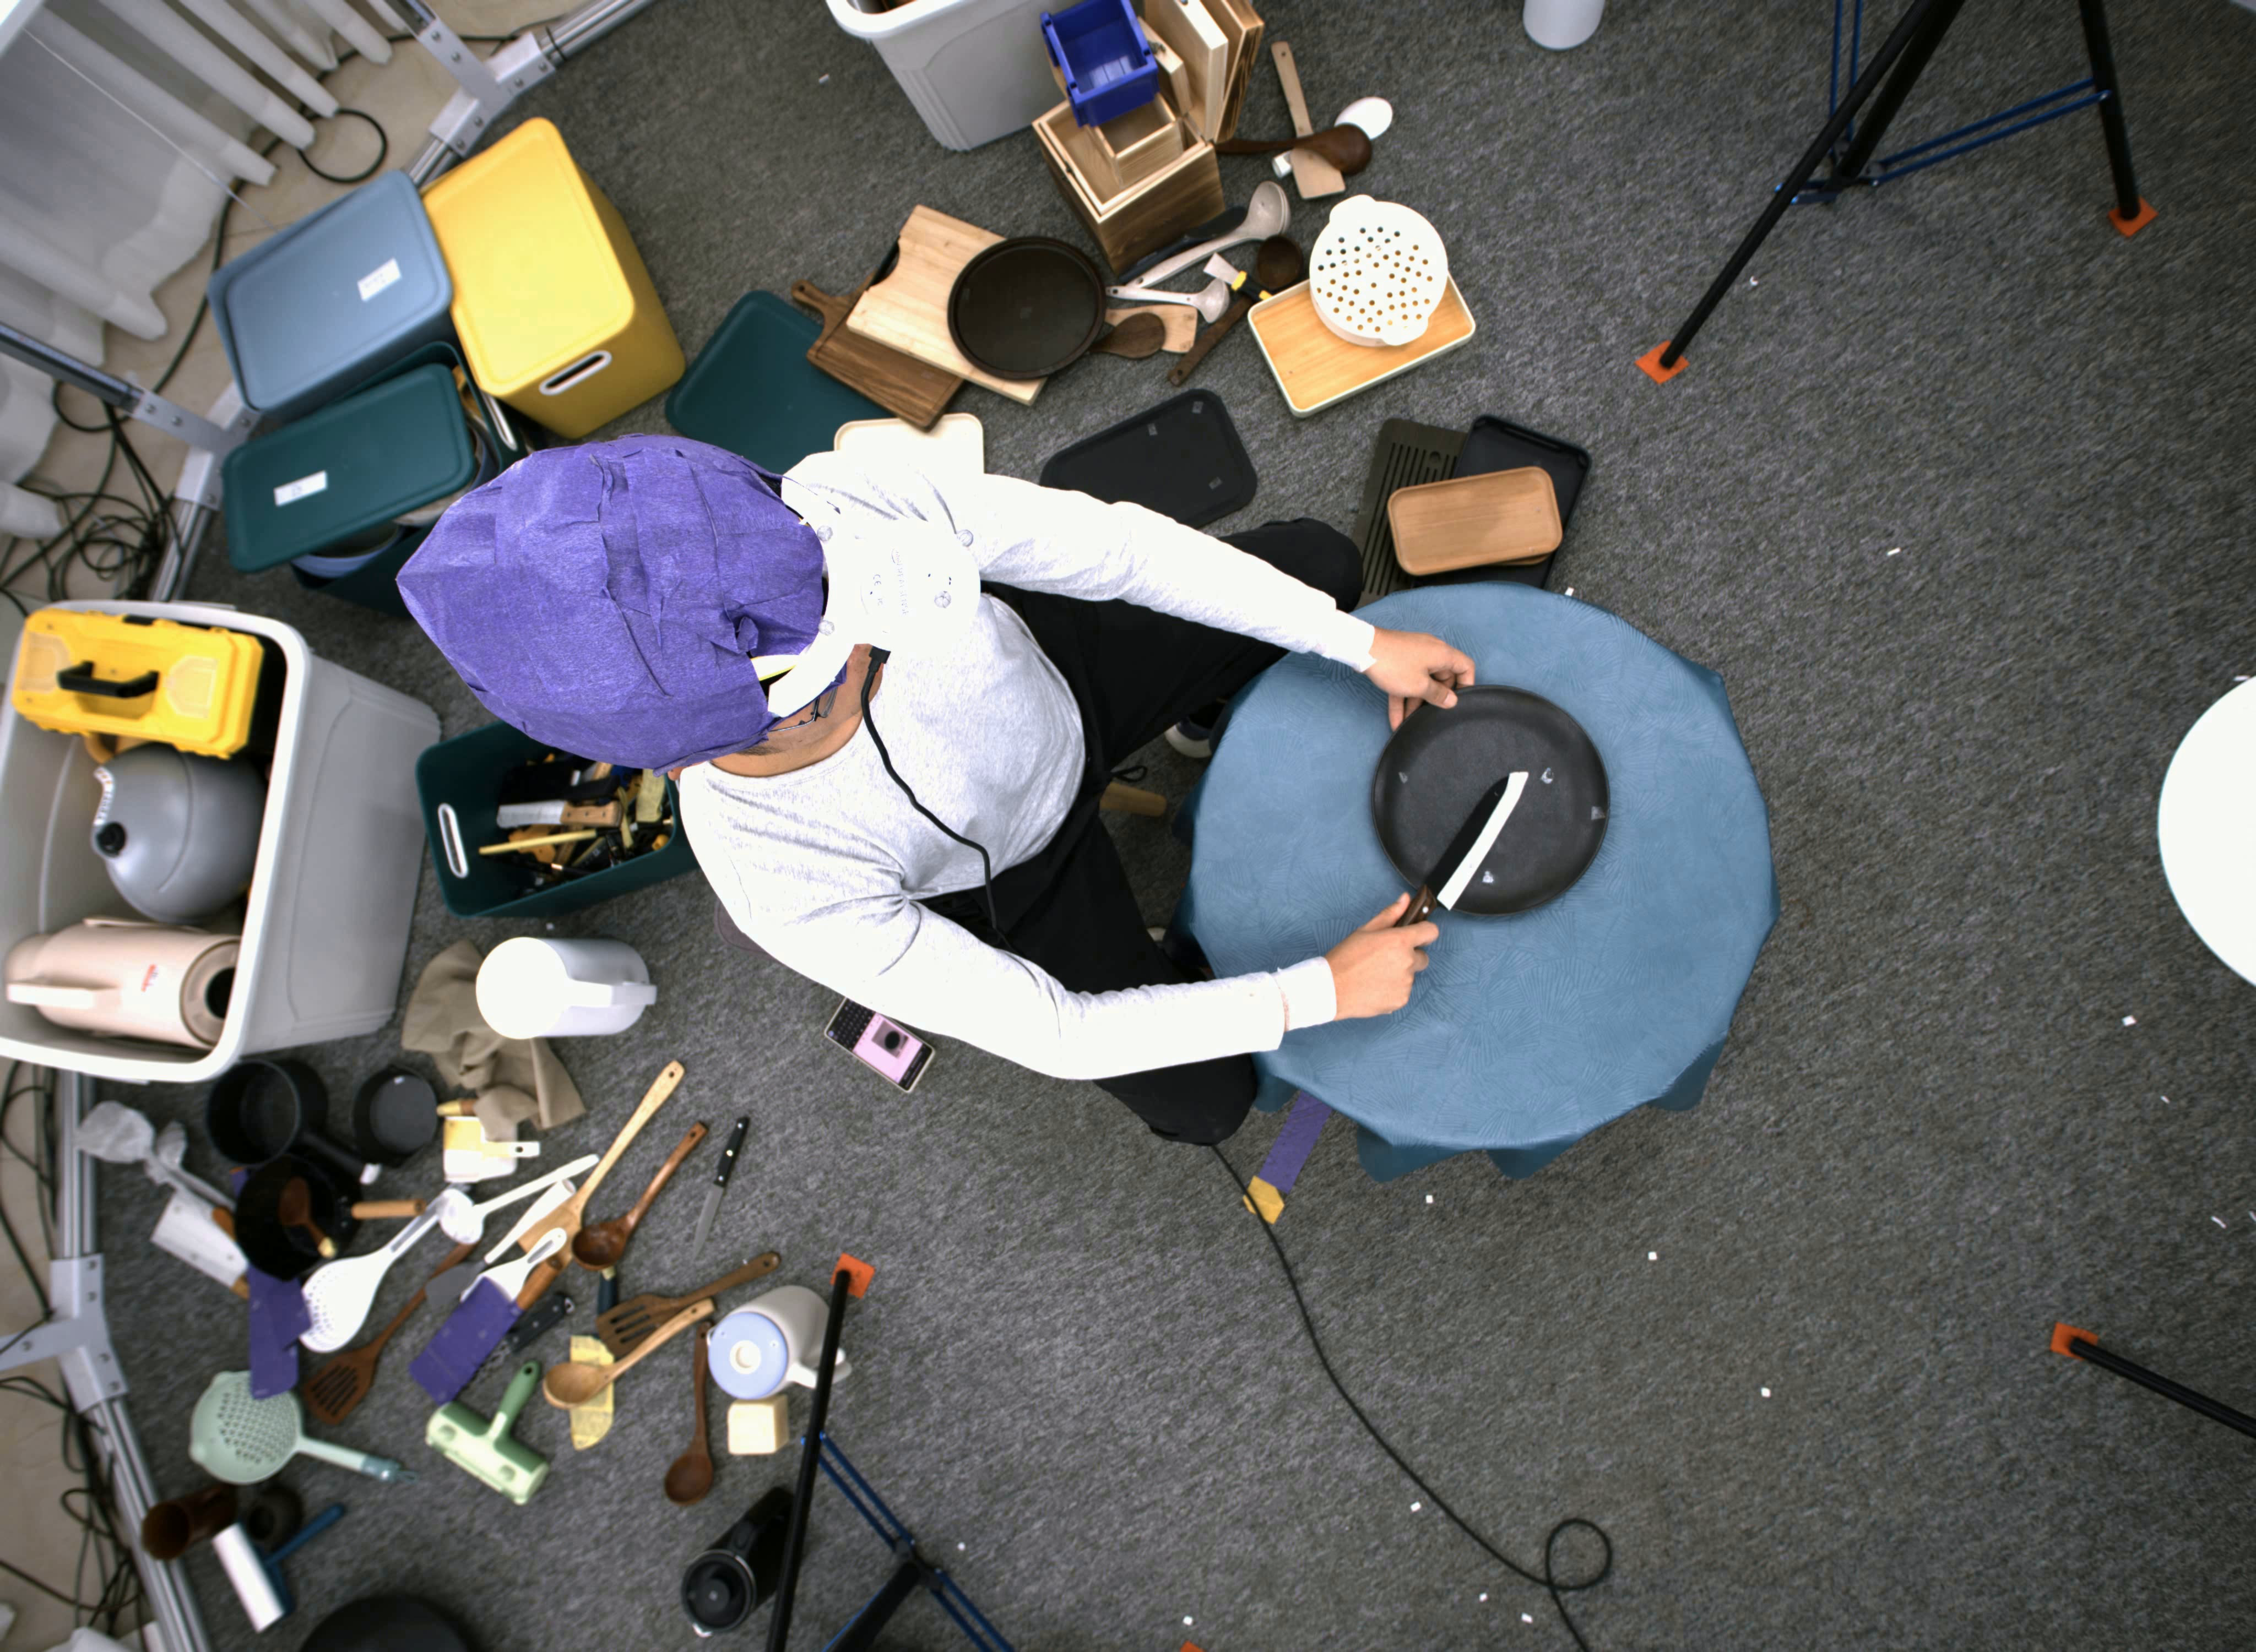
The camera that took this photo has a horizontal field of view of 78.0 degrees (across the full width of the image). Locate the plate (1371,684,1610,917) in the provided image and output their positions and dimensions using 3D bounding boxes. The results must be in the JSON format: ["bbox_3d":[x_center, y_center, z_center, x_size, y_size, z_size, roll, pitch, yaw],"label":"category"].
[{"bbox_3d":[0.376,-0.029,1.434,0.245,0.023,0.243,-1,87,11],"label":"plate"}]

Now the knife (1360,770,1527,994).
[{"bbox_3d":[0.327,0.054,1.415,0.051,0.020,0.288,39,85,-27],"label":"knife"}]
